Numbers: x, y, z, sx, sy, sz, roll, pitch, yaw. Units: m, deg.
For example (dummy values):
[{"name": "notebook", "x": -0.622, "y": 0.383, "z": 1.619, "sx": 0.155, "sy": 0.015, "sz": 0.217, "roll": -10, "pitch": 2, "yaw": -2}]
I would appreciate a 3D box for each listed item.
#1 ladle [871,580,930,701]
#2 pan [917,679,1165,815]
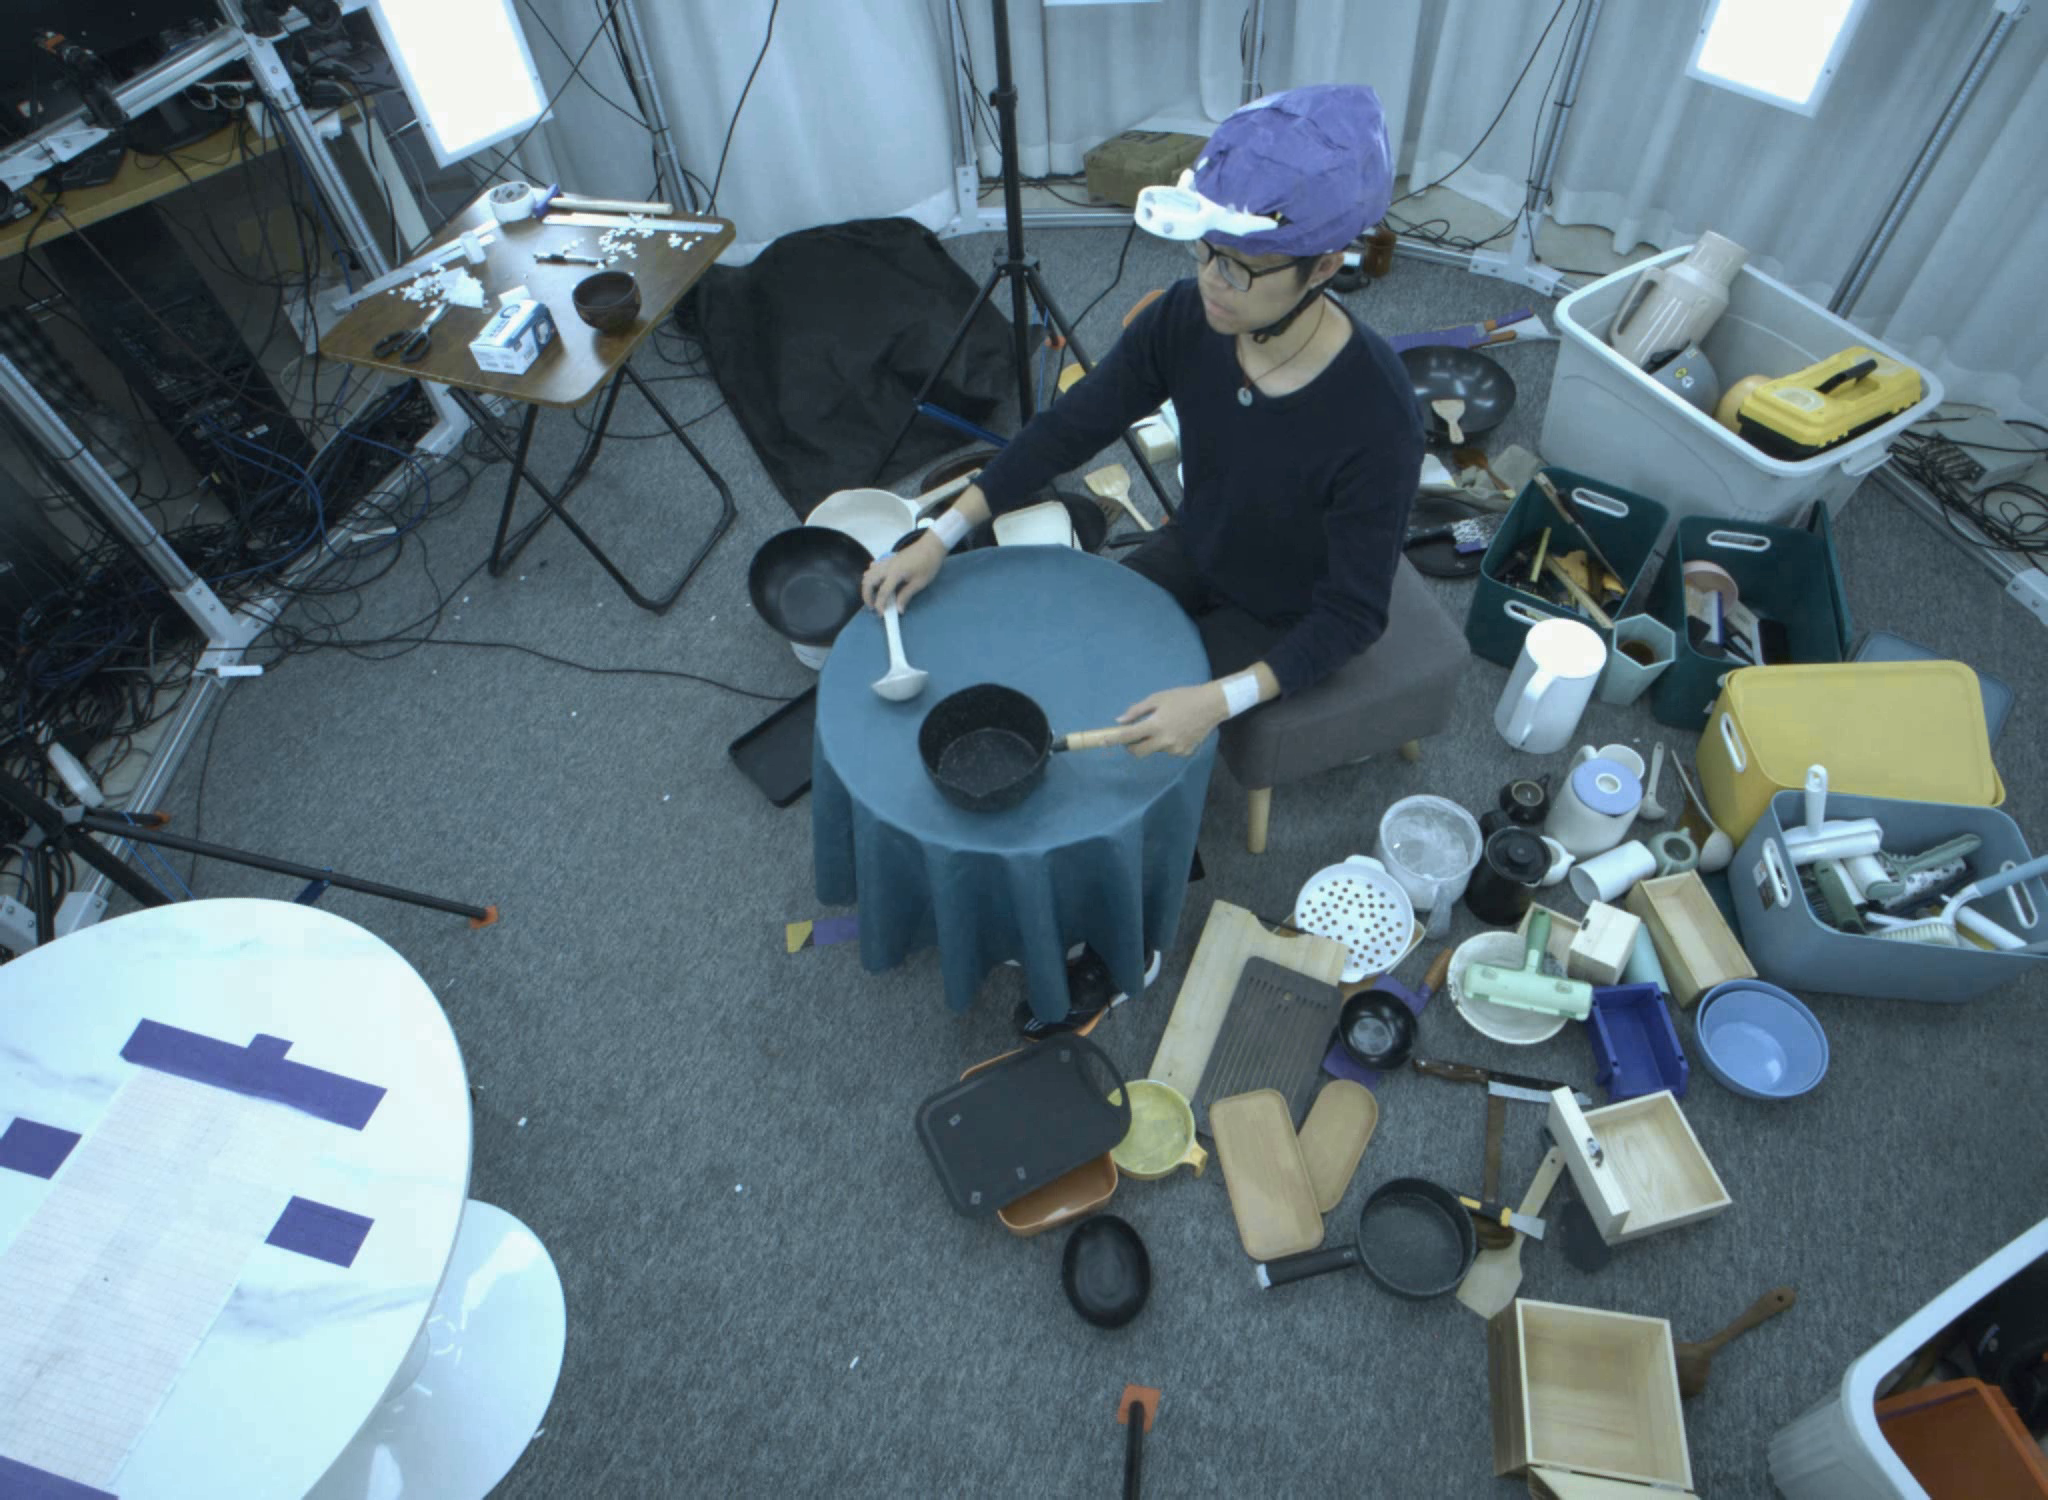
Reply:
[{"name": "ladle", "x": -0.202, "y": -0.188, "z": 1.887, "sx": 0.089, "sy": 0.070, "sz": 0.271, "roll": -13, "pitch": 54, "yaw": 1}, {"name": "pan", "x": 0.025, "y": -0.003, "z": 1.722, "sx": 0.342, "sy": 0.109, "sz": 0.205, "roll": -2, "pitch": 54, "yaw": 3}]
